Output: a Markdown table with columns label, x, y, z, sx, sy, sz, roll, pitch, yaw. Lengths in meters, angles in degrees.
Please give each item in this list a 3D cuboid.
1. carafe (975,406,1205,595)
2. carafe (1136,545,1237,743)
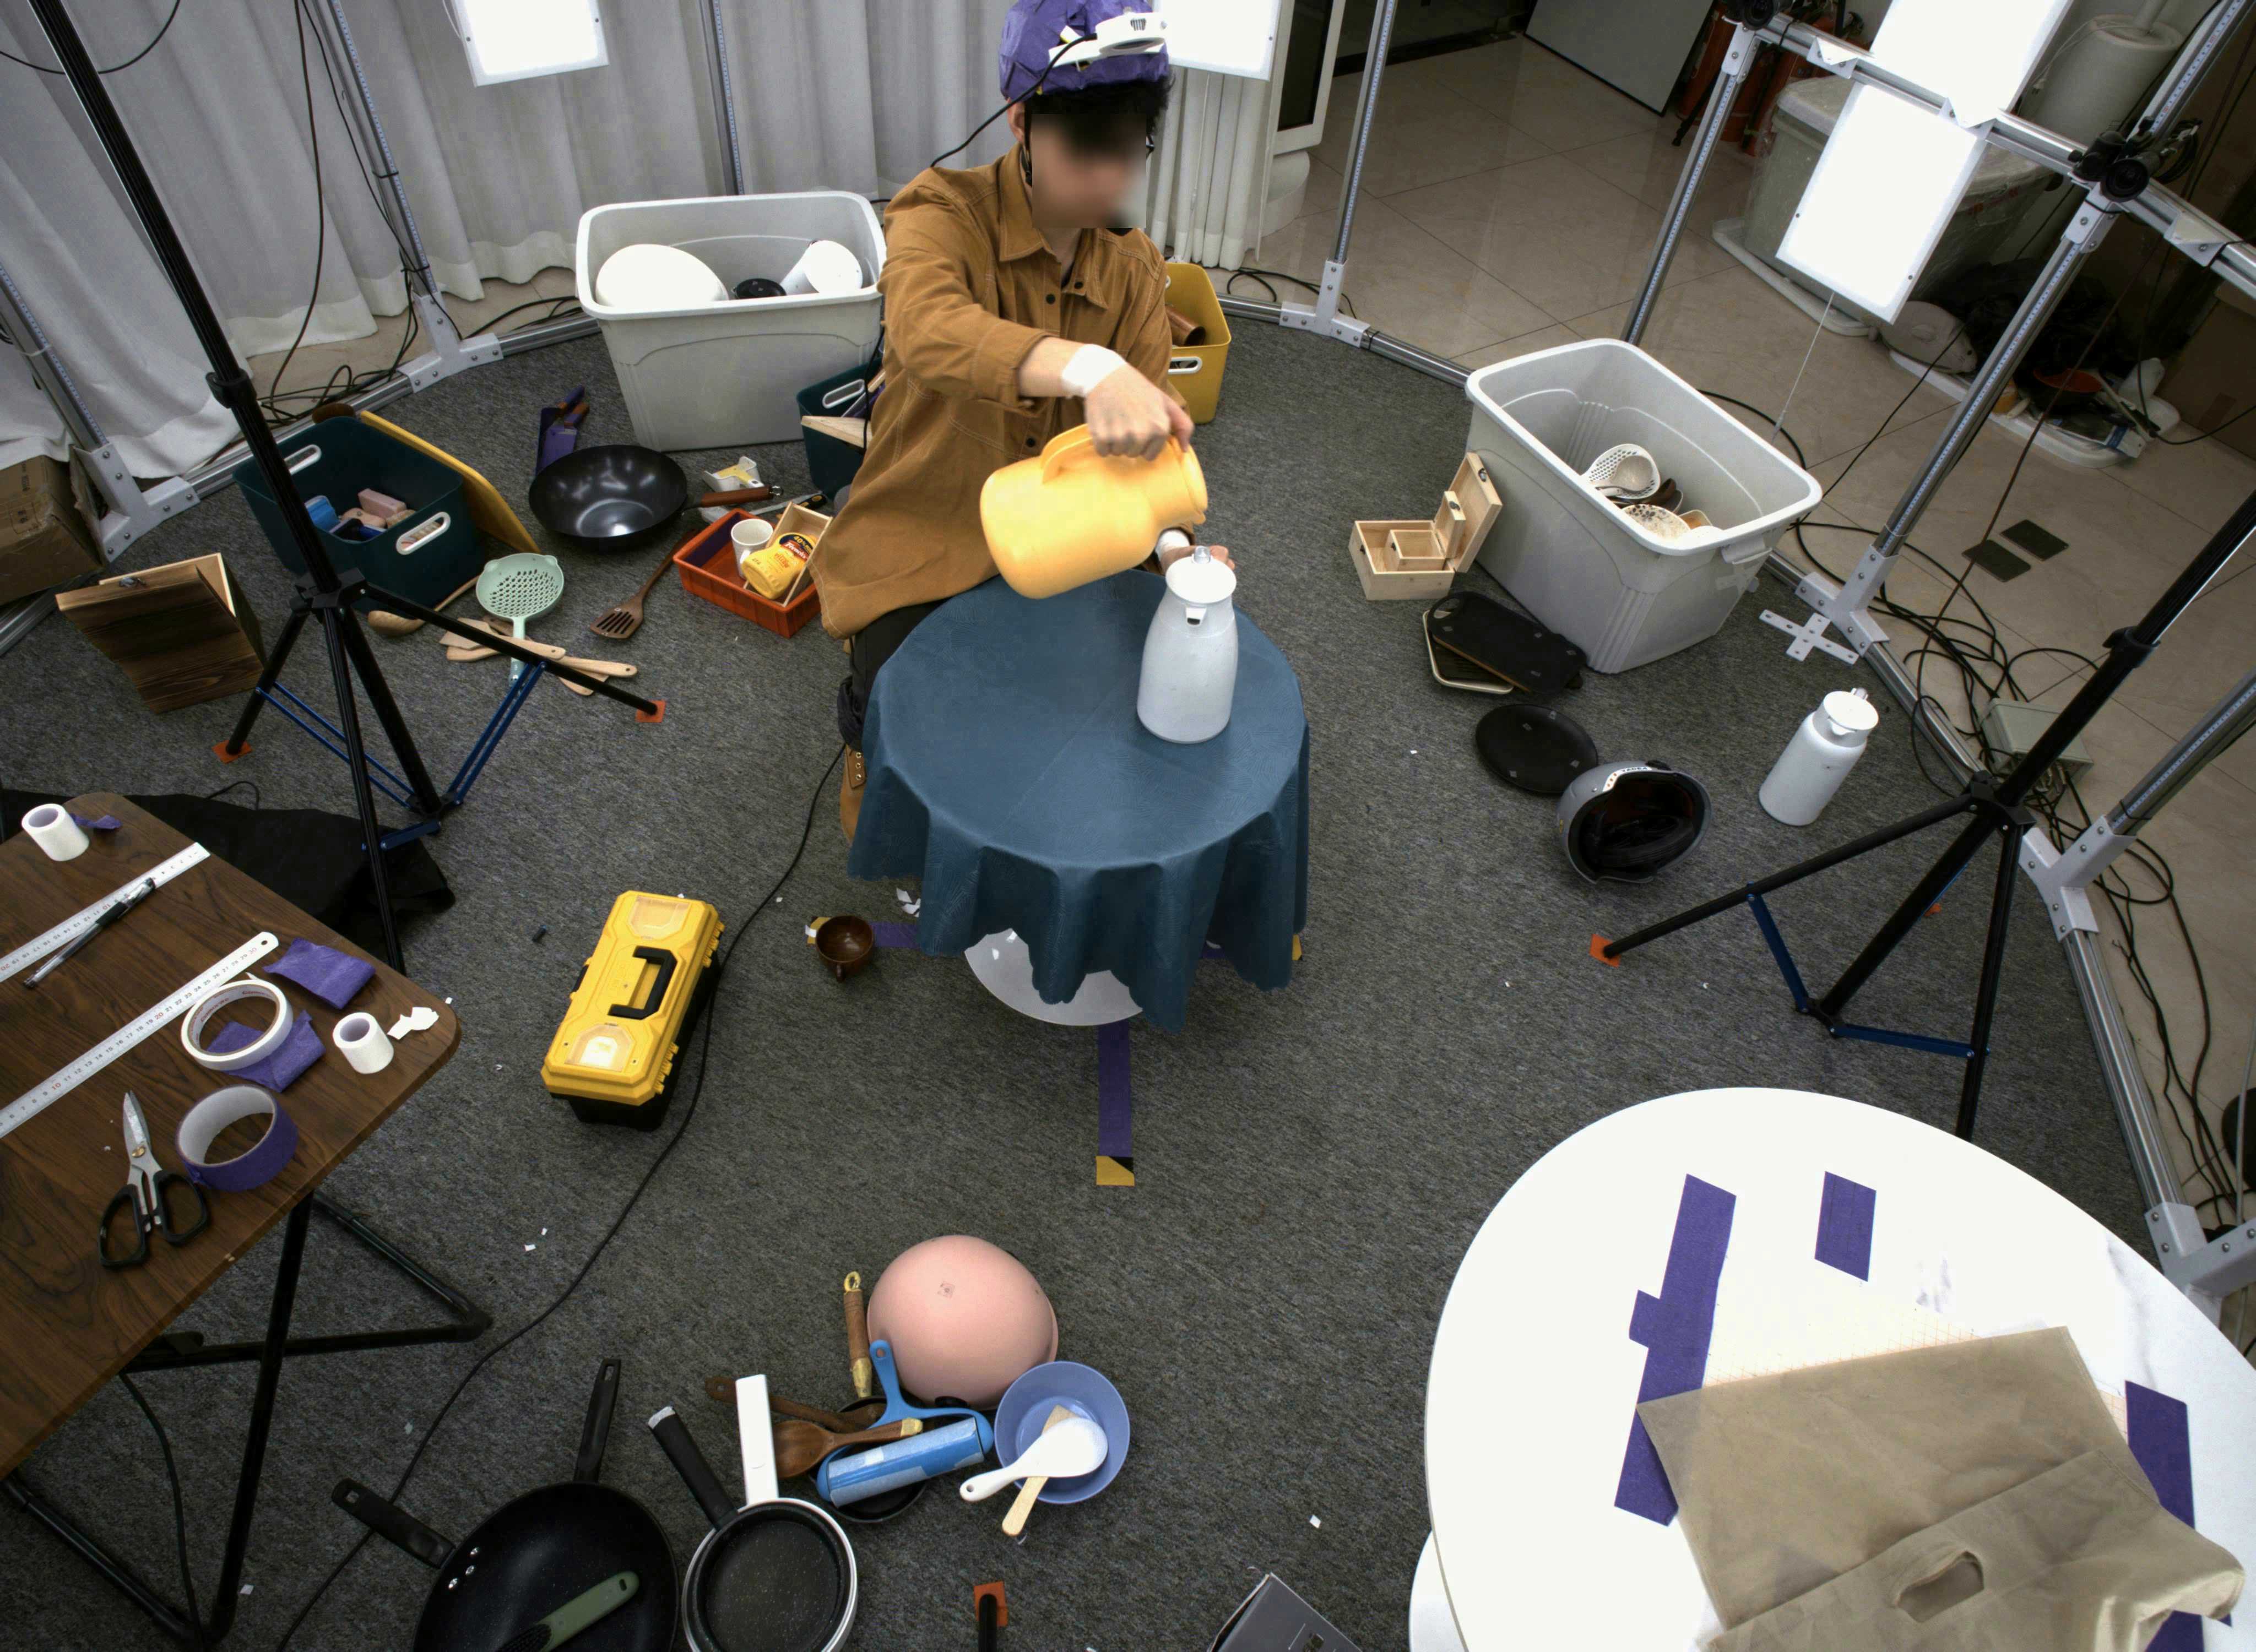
| label | x | y | z | sx | sy | sz | roll | pitch | yaw |
| --- | --- | --- | --- | --- | --- | --- | --- | --- | --- |
| carafe | -0.046 | -0.390 | 1.509 | 0.260 | 0.198 | 0.167 | -15 | 56 | 11 |
| carafe | 0.086 | -0.257 | 1.737 | 0.132 | 0.242 | 0.172 | 8 | 49 | 3 |
